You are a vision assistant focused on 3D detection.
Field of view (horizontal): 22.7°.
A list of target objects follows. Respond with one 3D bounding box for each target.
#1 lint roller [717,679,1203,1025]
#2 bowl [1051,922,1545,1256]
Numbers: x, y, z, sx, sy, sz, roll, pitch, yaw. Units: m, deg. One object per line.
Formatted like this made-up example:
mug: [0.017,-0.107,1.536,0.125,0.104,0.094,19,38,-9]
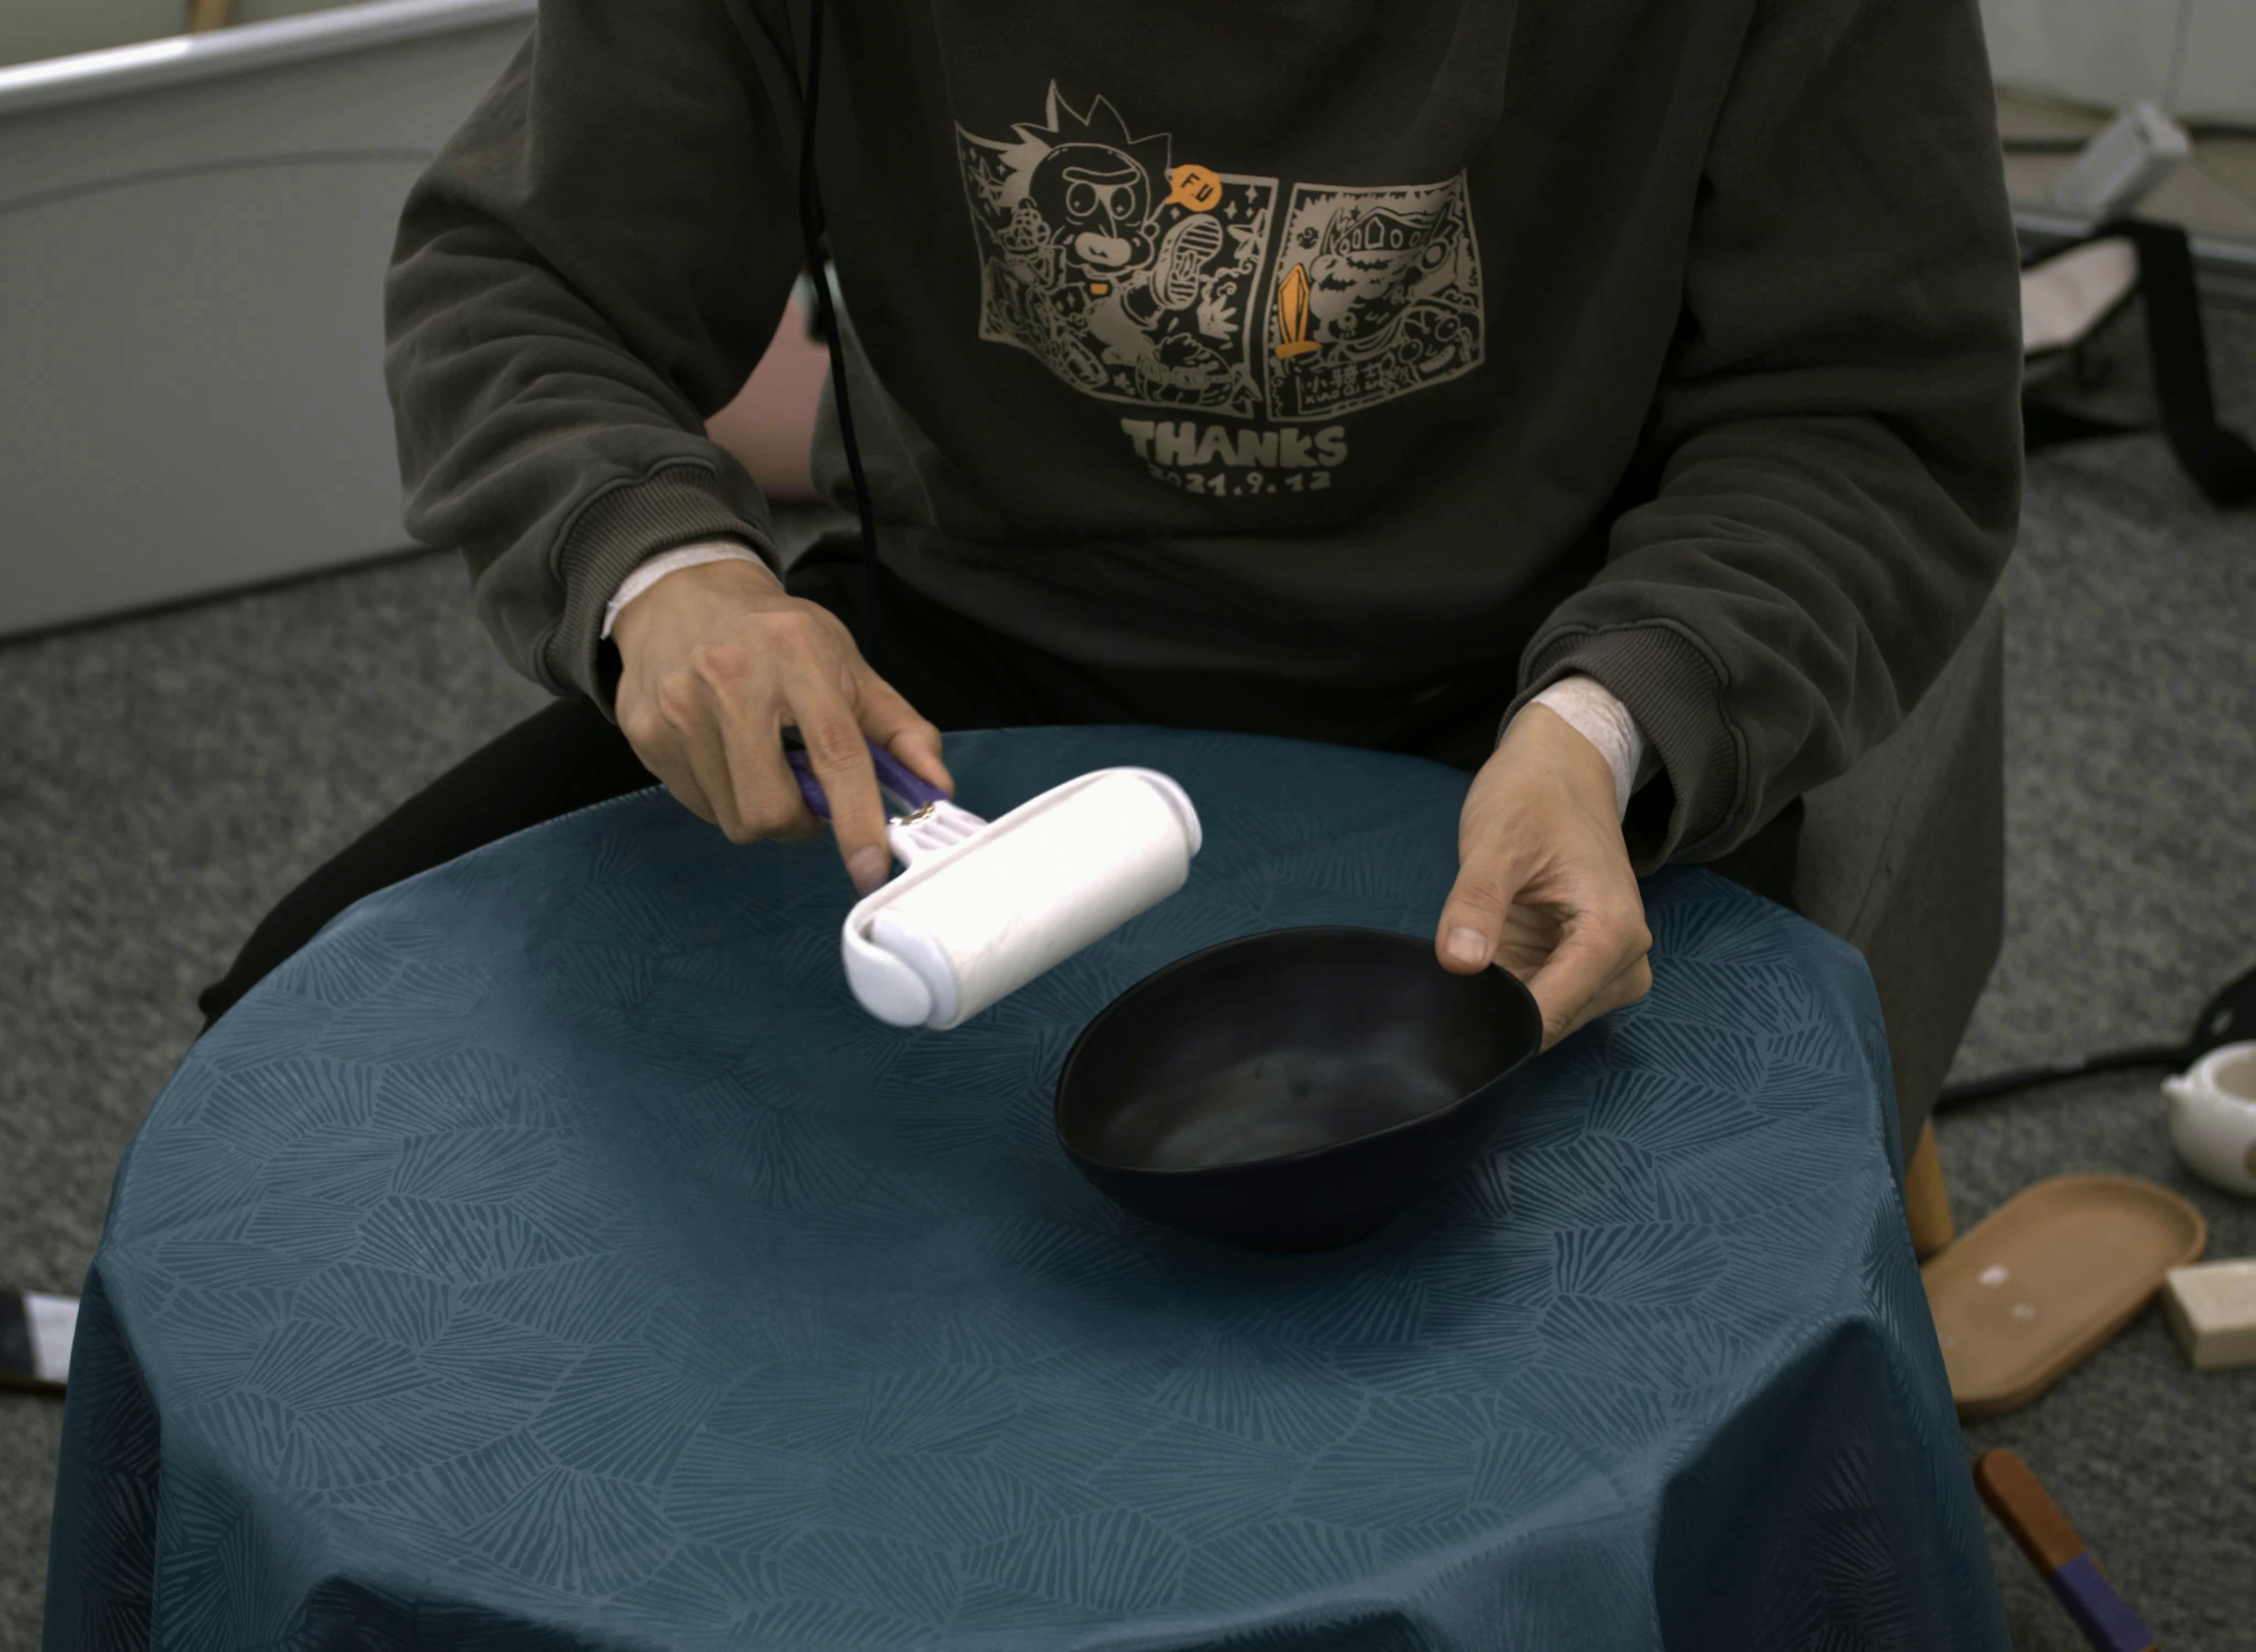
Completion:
lint roller: [-0.073,-0.013,1.866,0.134,0.049,0.181,-29,52,-31]
bowl: [0.058,0.096,1.836,0.171,0.066,0.138,-20,31,-26]
